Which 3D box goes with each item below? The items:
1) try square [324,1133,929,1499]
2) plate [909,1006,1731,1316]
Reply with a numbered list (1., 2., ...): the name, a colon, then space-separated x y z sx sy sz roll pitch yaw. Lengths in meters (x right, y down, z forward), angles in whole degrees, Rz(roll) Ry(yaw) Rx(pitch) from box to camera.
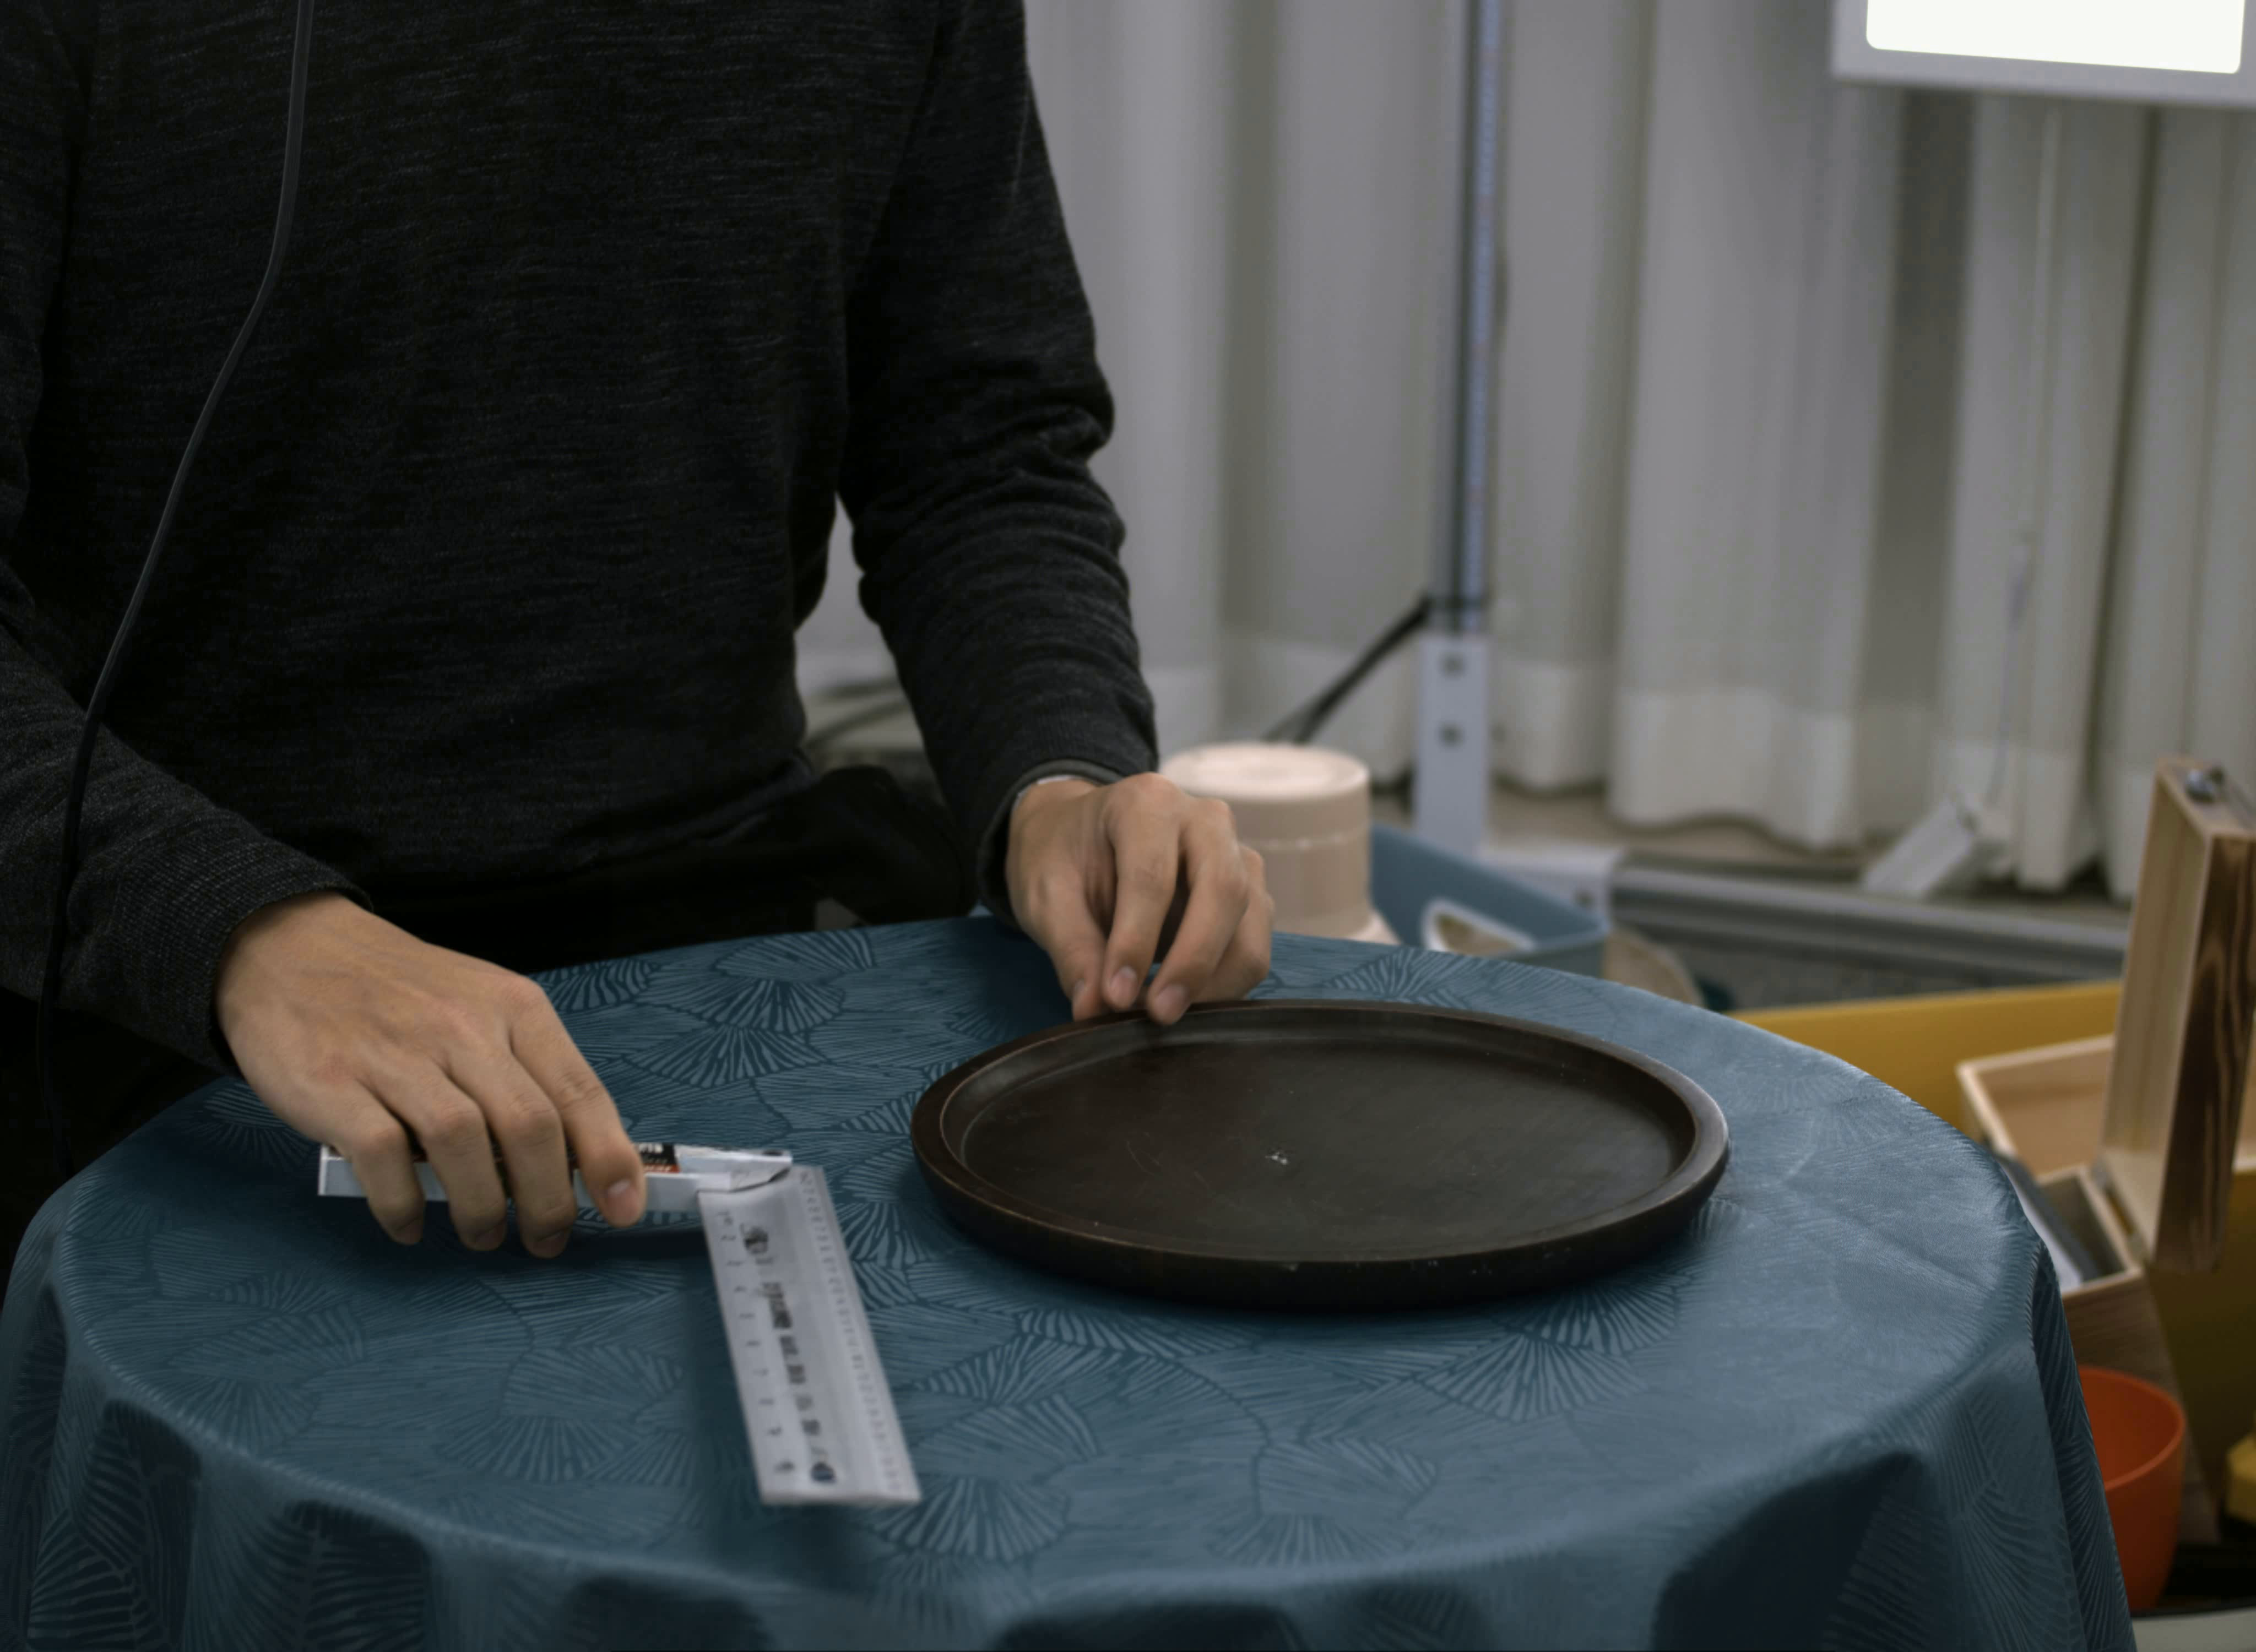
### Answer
1. try square: -0.144 0.130 1.436 0.152 0.016 0.311 2 12 -8
2. plate: 0.059 0.100 1.623 0.254 0.029 0.253 1 17 0
